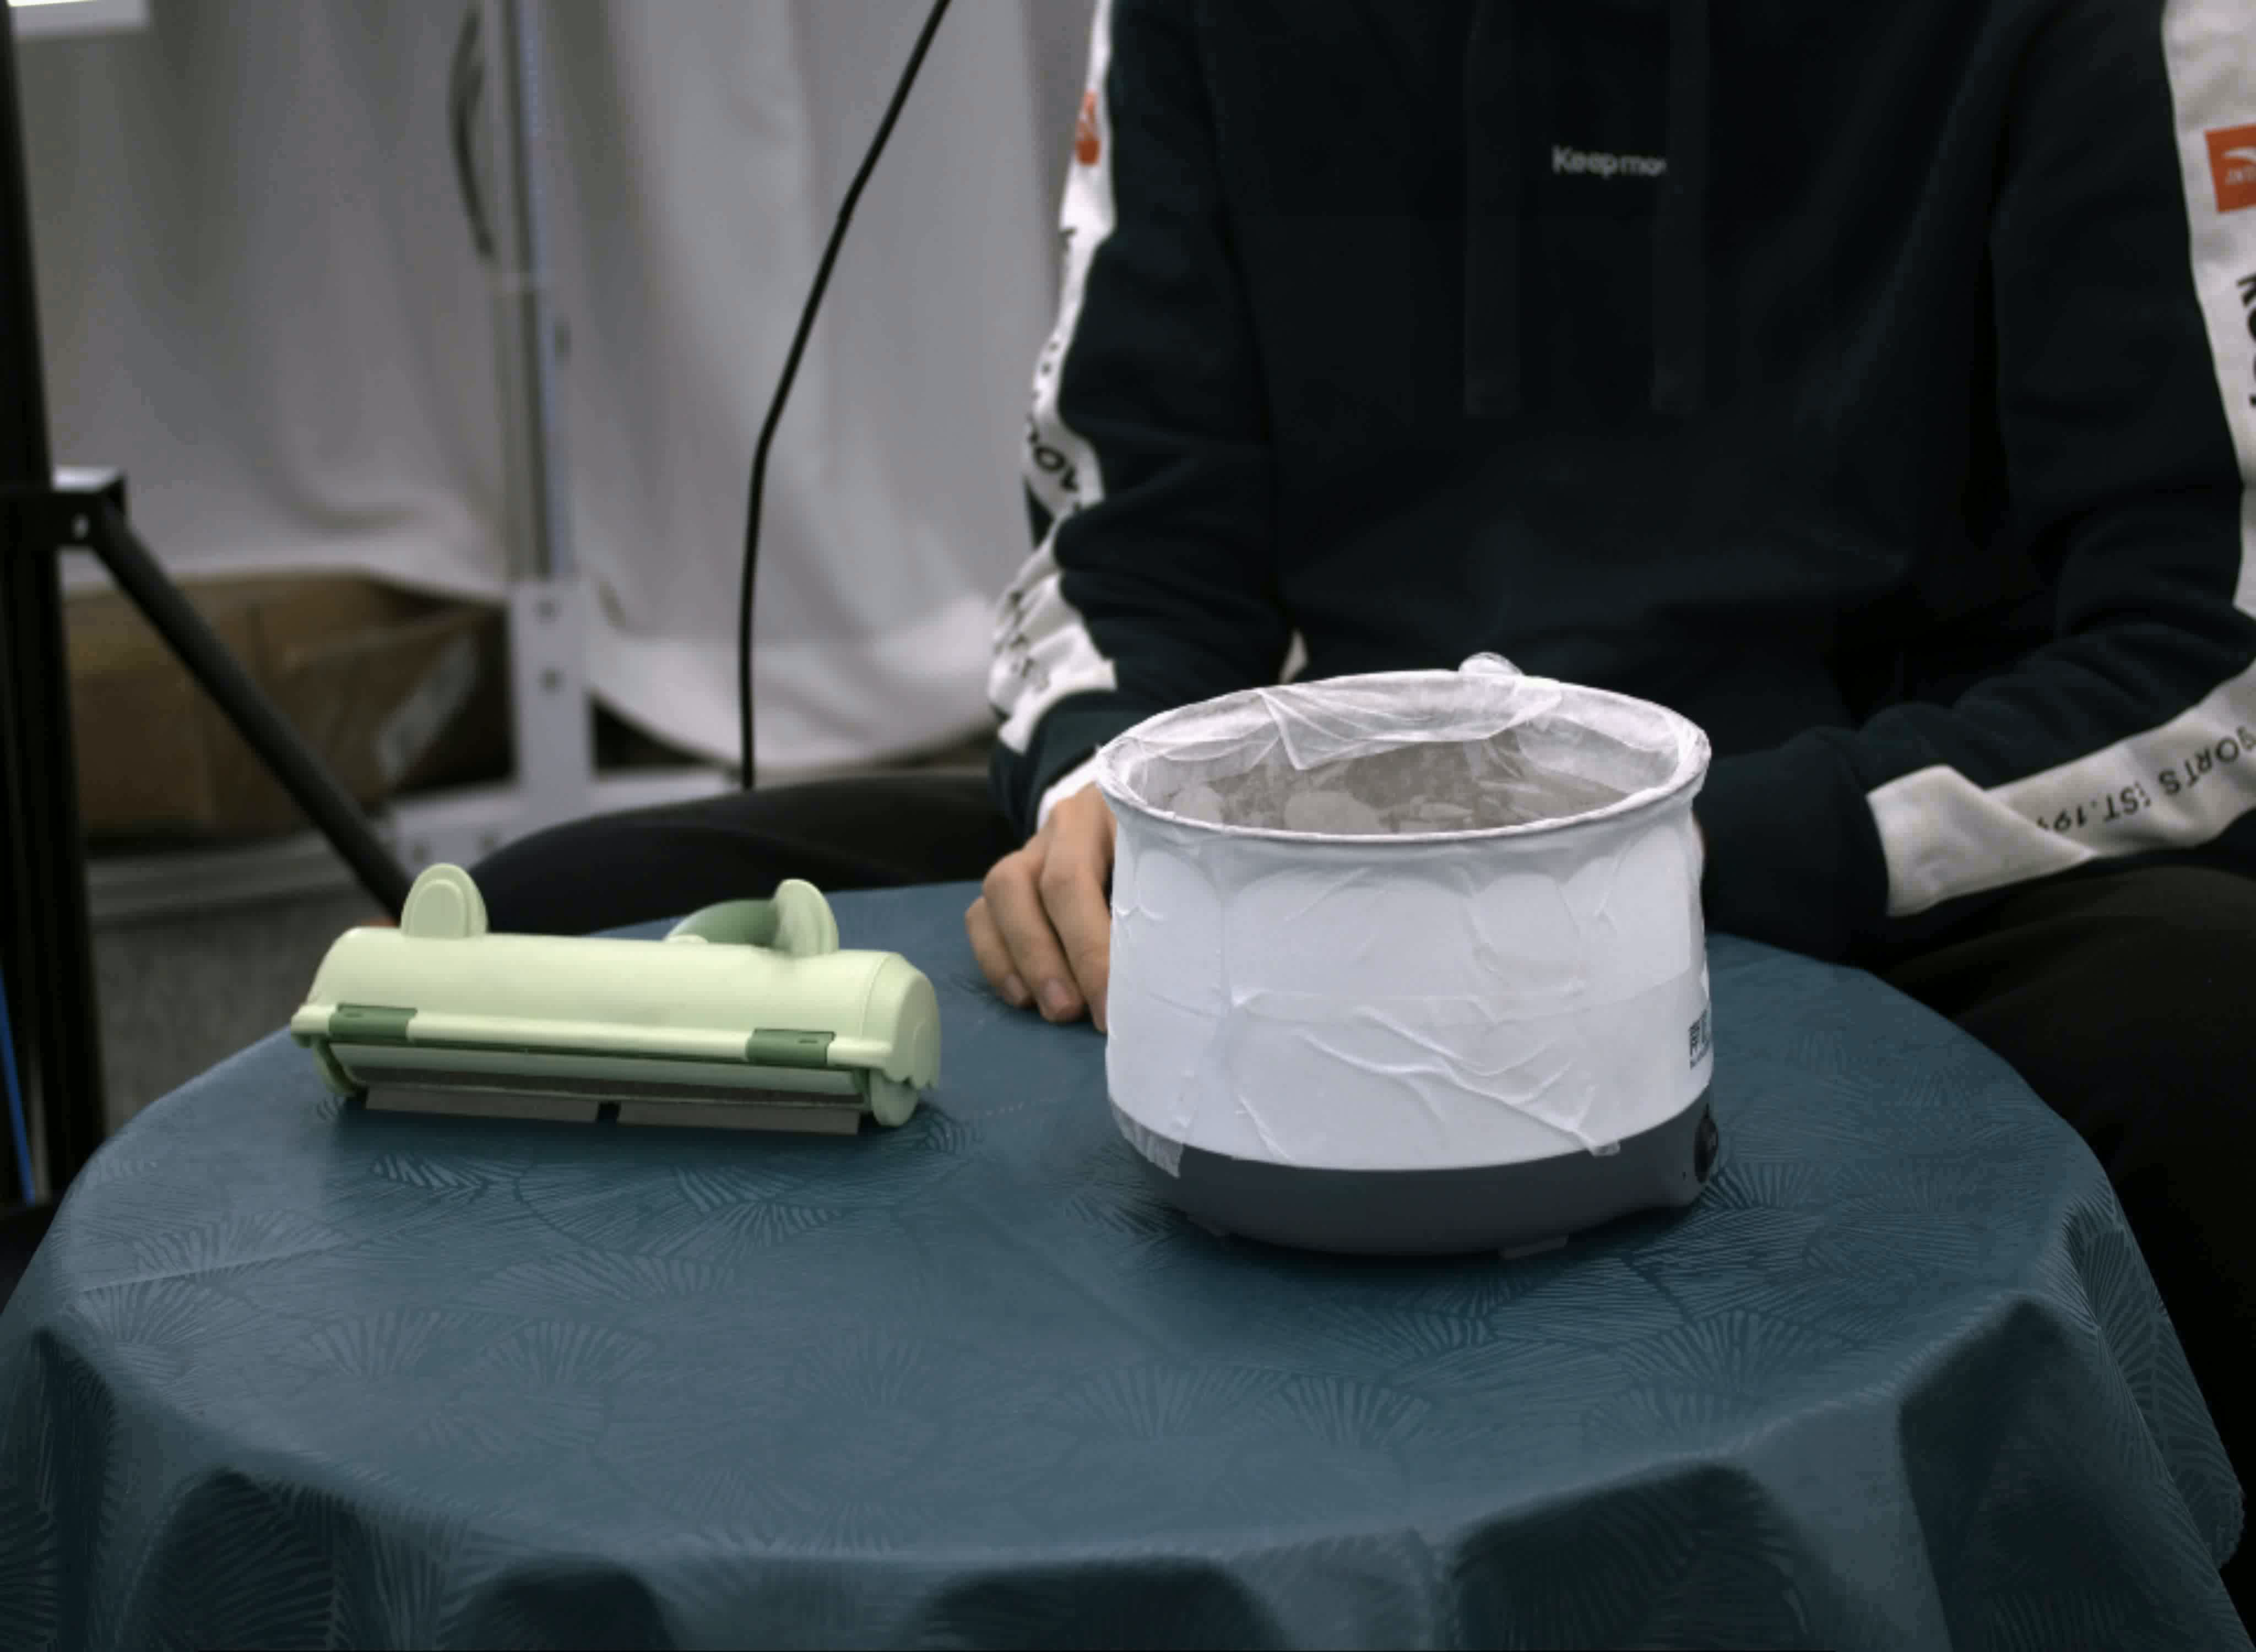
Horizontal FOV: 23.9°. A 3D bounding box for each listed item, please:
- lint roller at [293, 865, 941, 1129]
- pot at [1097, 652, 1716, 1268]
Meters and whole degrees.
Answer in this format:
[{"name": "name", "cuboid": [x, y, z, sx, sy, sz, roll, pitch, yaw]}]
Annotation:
[{"name": "lint roller", "cuboid": [-0.143, 0.036, 1.698, 0.200, 0.082, 0.182, 2, 21, 17]}, {"name": "pot", "cuboid": [0.089, 0.033, 1.557, 0.180, 0.136, 0.231, 3, 17, 18]}]
